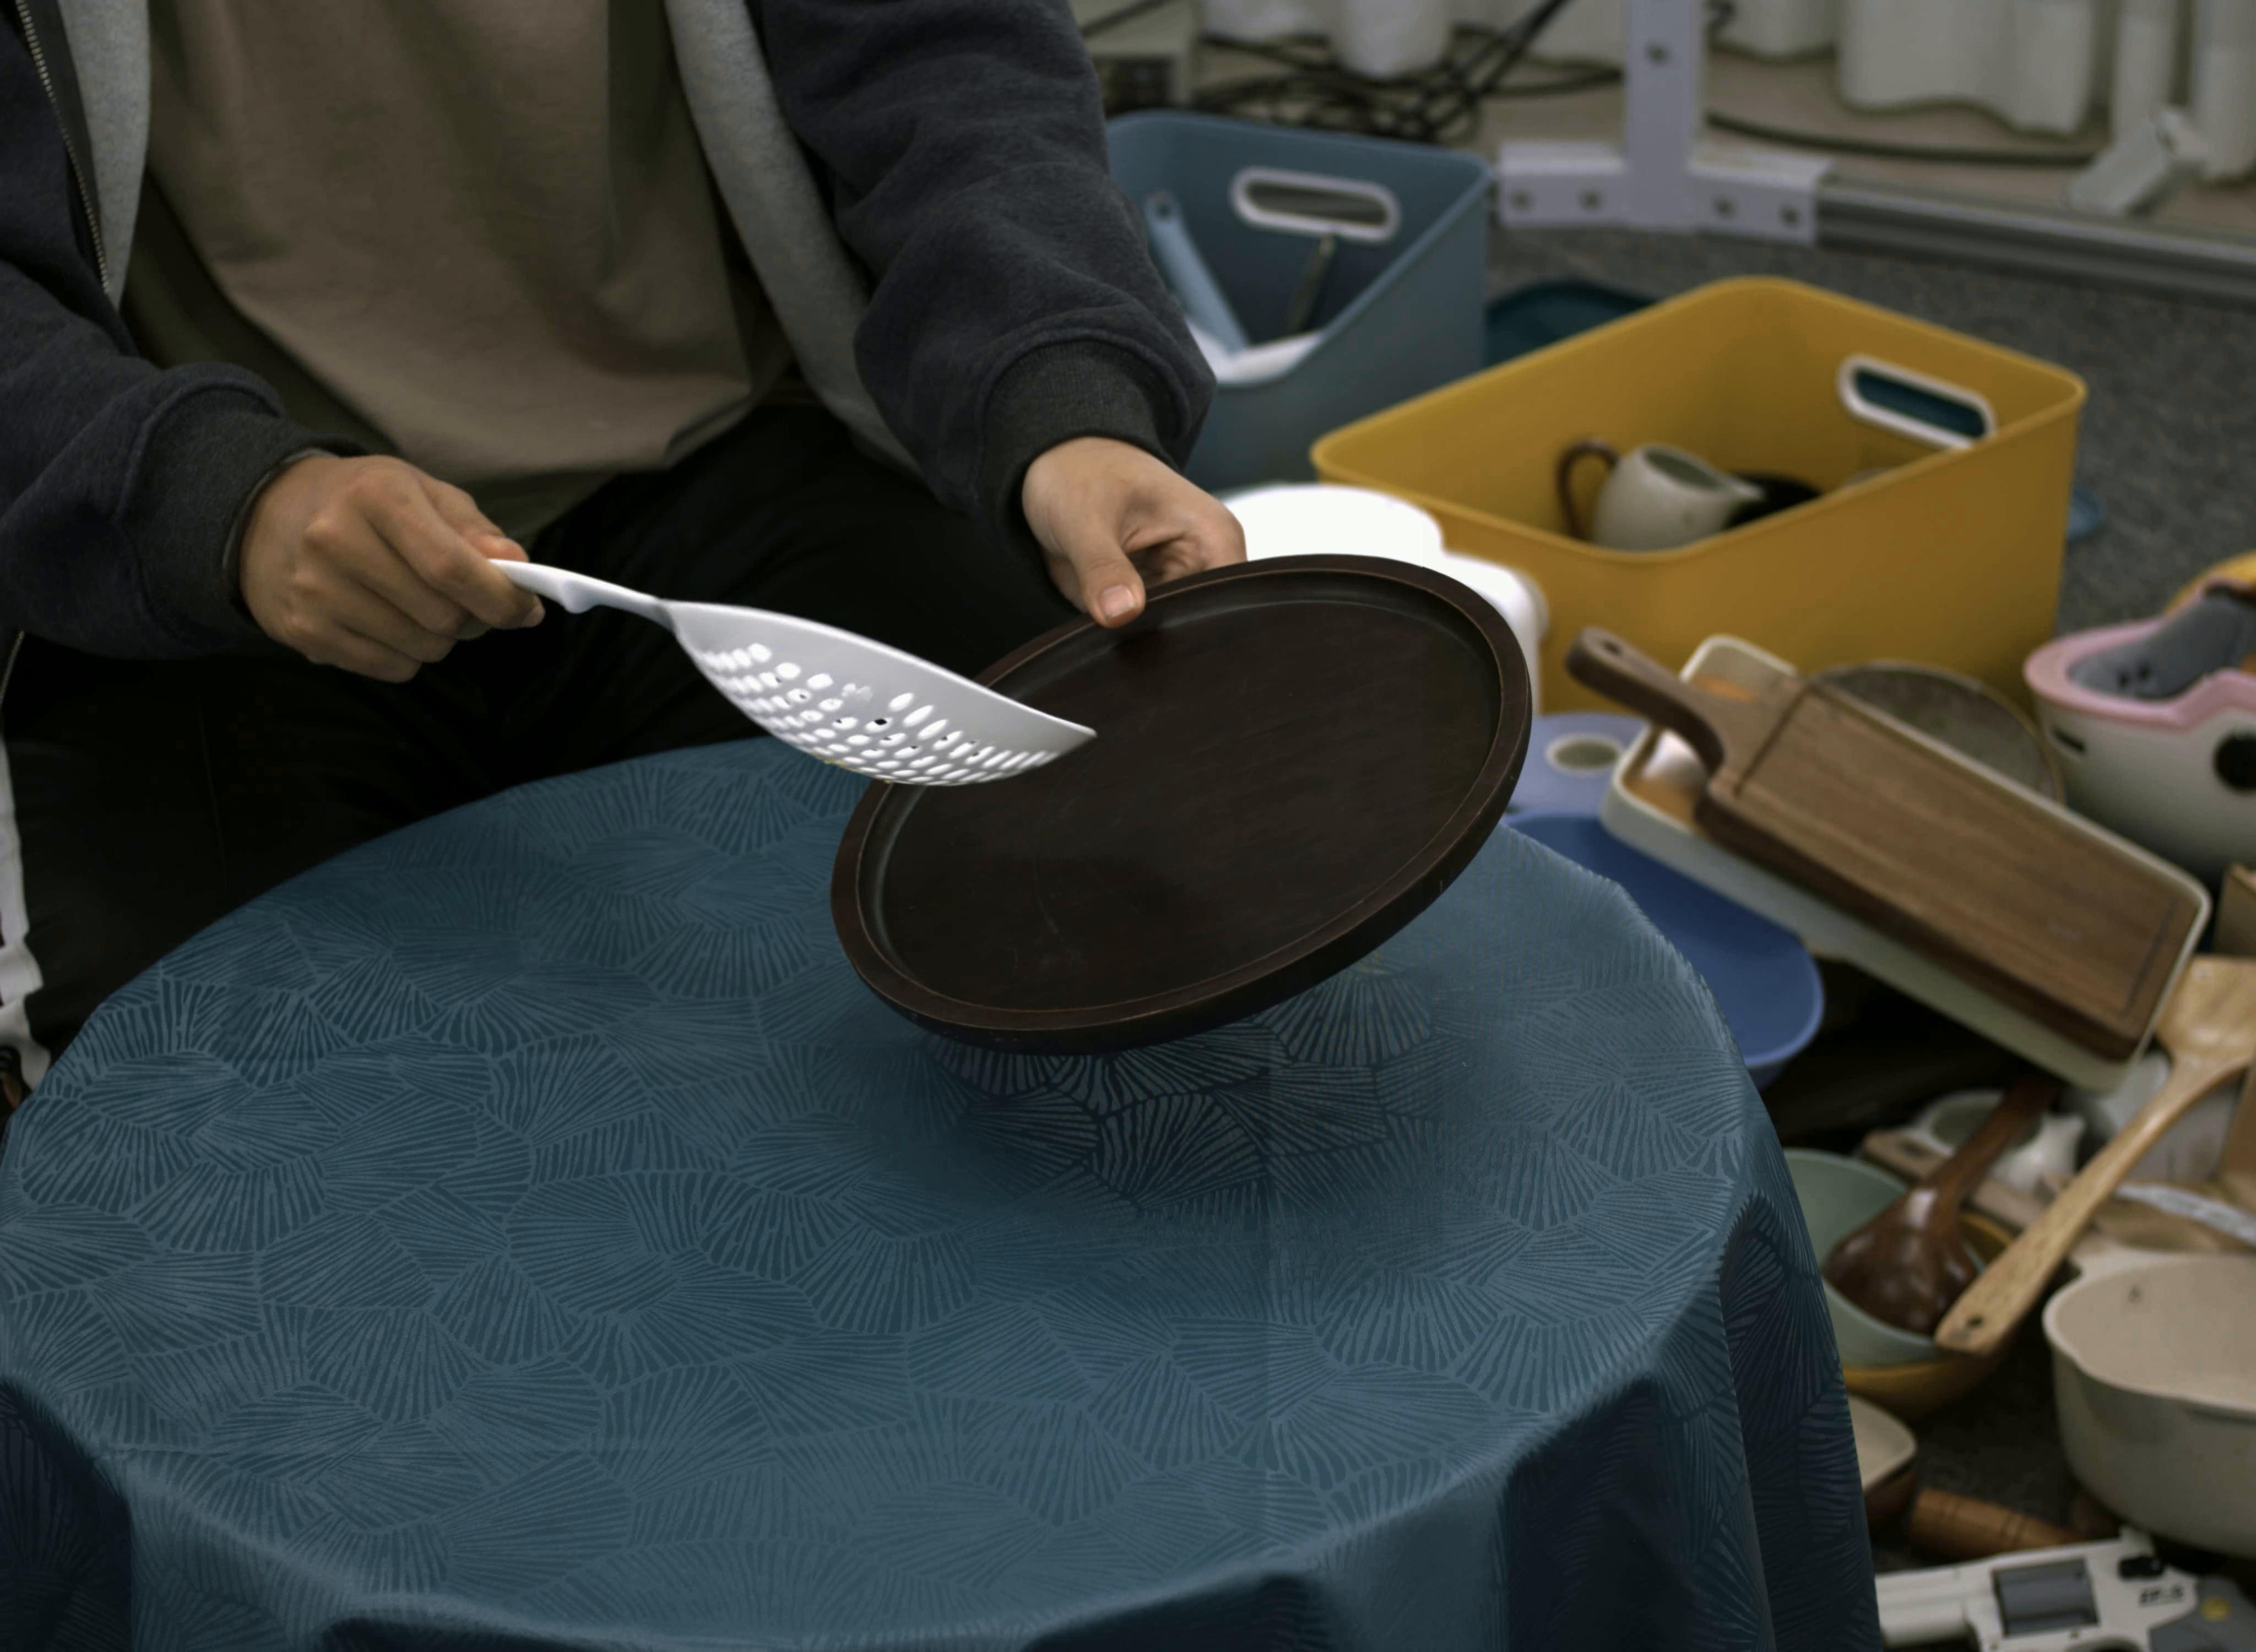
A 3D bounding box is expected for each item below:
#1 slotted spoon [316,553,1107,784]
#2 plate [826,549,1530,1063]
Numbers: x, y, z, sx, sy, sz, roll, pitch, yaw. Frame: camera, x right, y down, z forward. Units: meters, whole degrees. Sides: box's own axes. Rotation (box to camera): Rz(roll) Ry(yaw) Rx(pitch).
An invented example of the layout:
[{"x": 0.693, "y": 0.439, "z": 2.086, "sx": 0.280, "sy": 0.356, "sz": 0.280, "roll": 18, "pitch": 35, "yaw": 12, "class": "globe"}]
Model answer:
[{"x": -0.156, "y": -0.064, "z": 1.923, "sx": 0.347, "sy": 0.050, "sz": 0.136, "roll": 20, "pitch": -3, "yaw": 42, "class": "slotted spoon"}, {"x": 0.018, "y": -0.007, "z": 1.908, "sx": 0.252, "sy": 0.029, "sz": 0.259, "roll": -17, "pitch": 34, "yaw": 12, "class": "plate"}]
